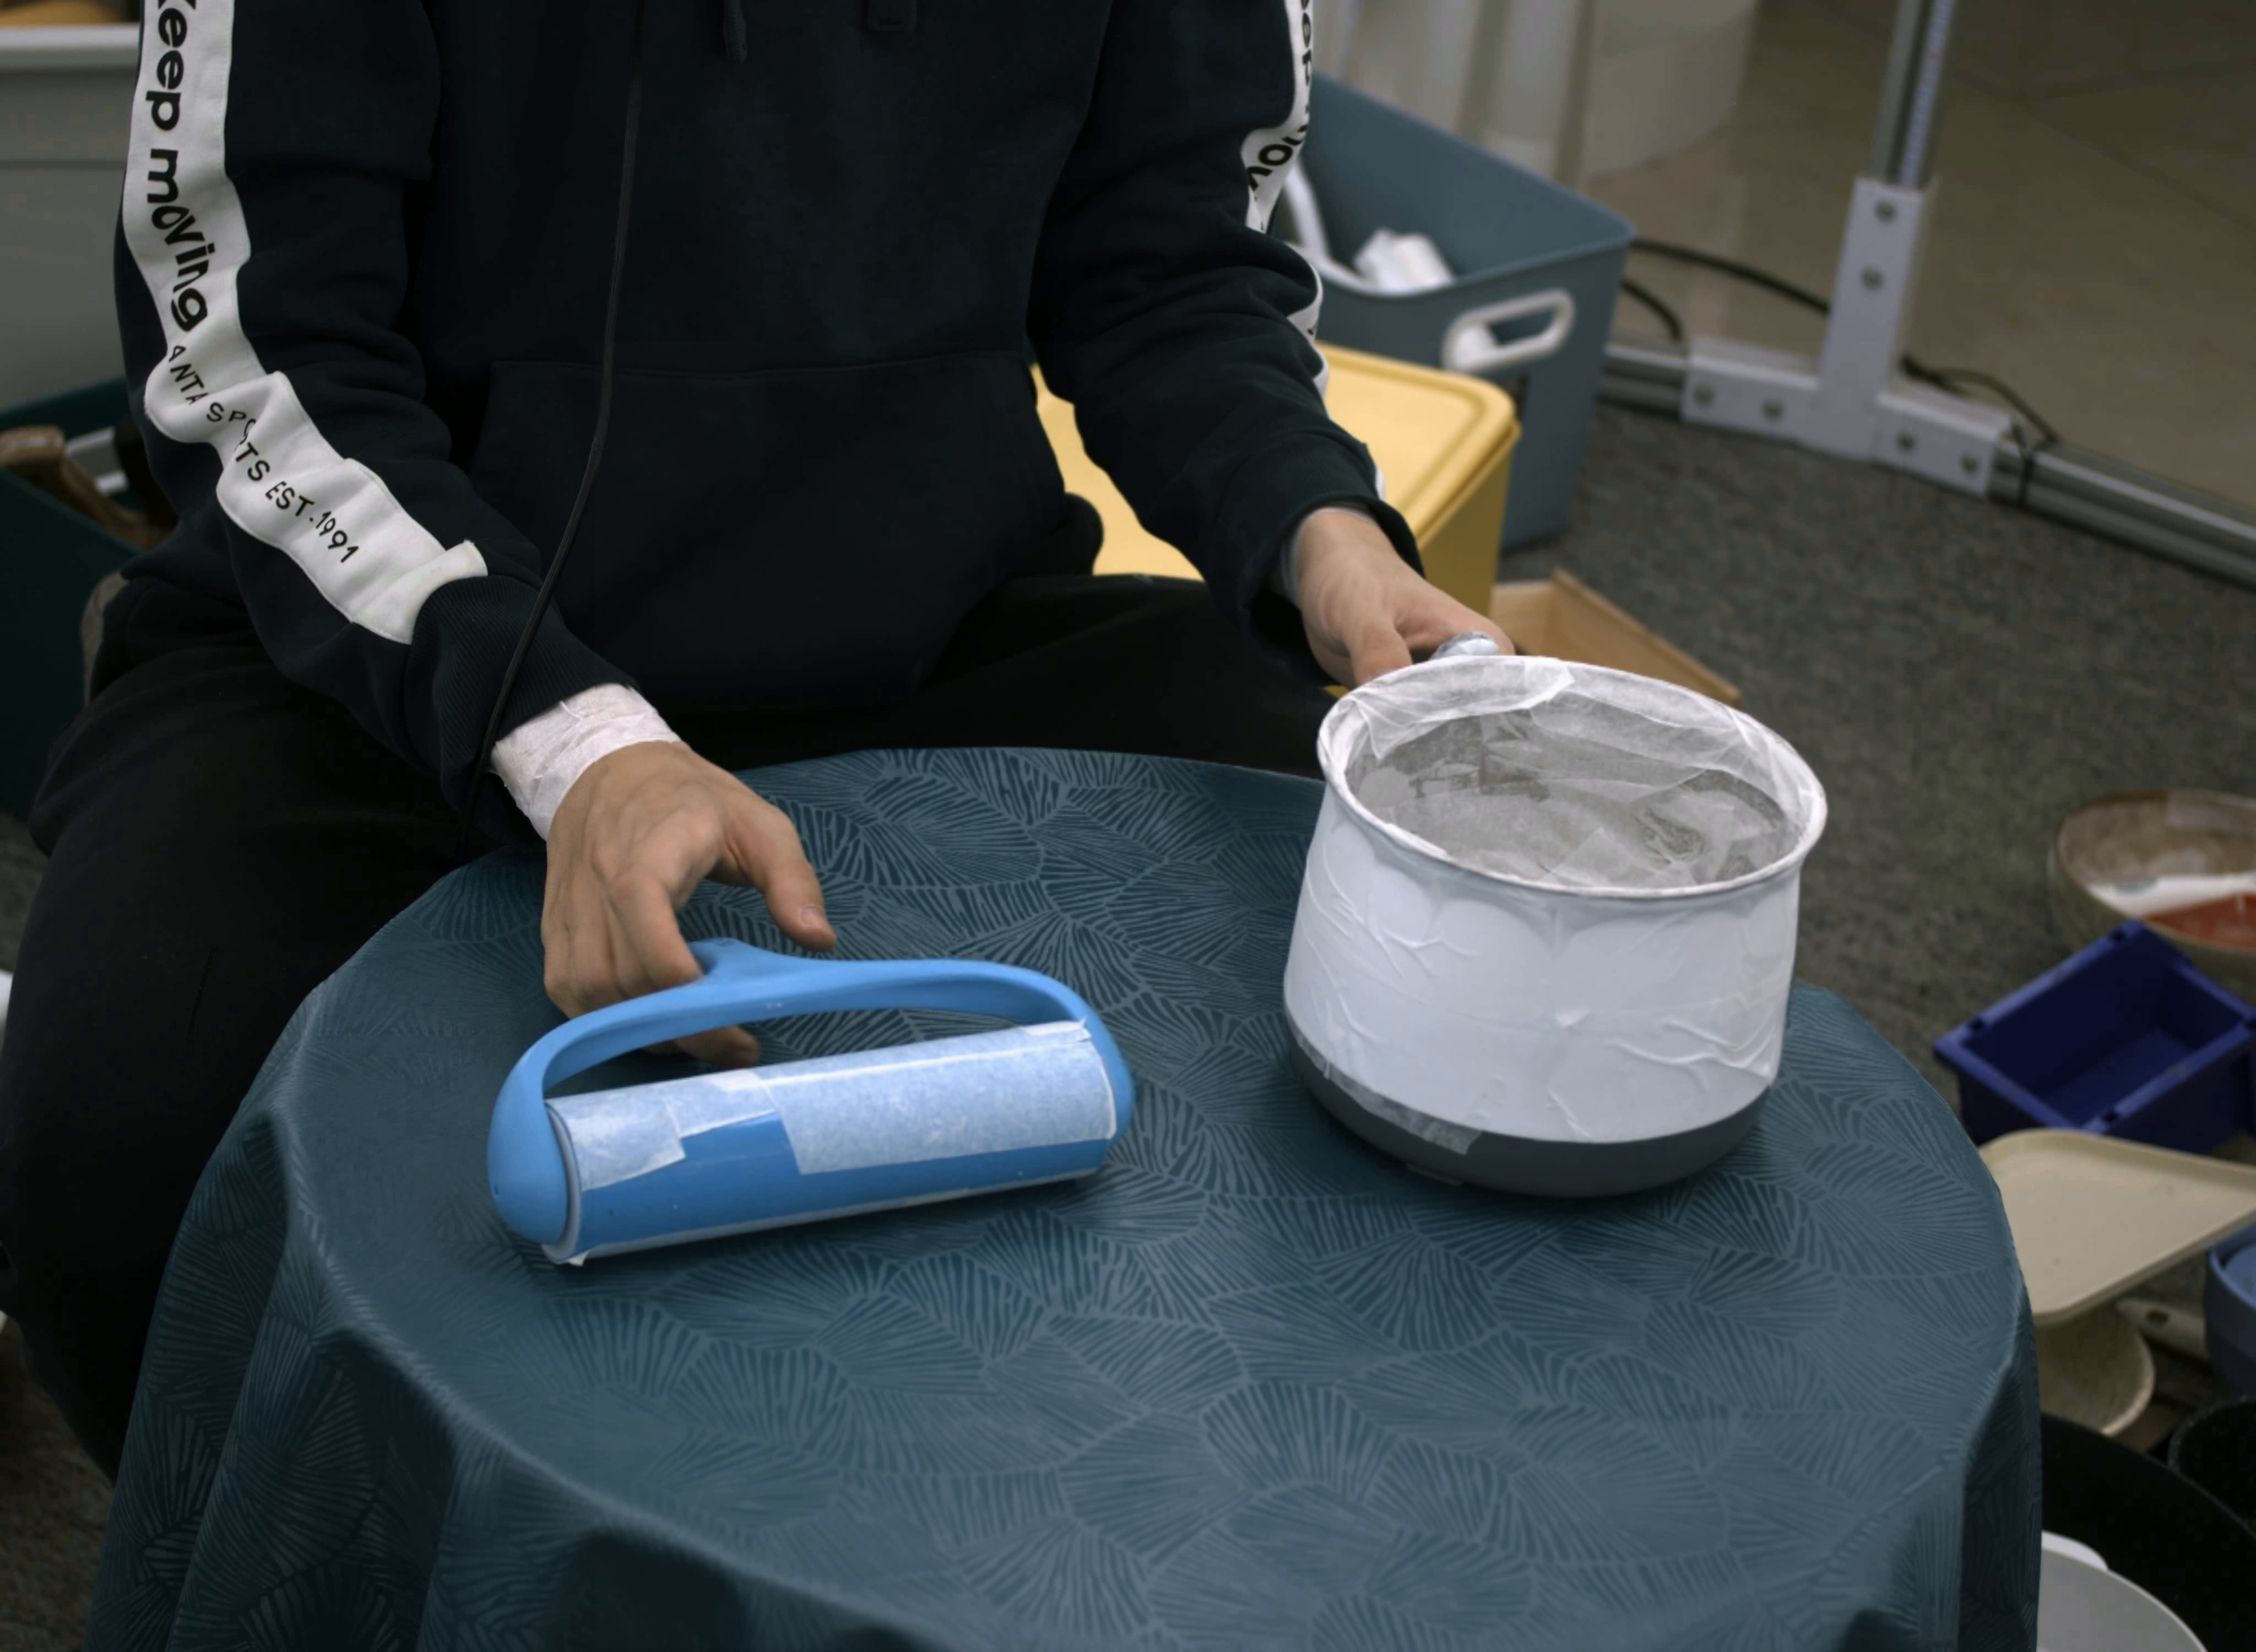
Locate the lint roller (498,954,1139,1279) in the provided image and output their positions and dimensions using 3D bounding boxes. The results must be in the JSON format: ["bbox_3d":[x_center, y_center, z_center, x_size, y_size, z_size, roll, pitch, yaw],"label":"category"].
[{"bbox_3d":[-0.129,0.078,1.798,0.227,0.067,0.182,-12,33,-28],"label":"lint roller"}]

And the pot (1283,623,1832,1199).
[{"bbox_3d":[0.138,0.022,1.873,0.177,0.136,0.236,-2,29,-18],"label":"pot"}]
